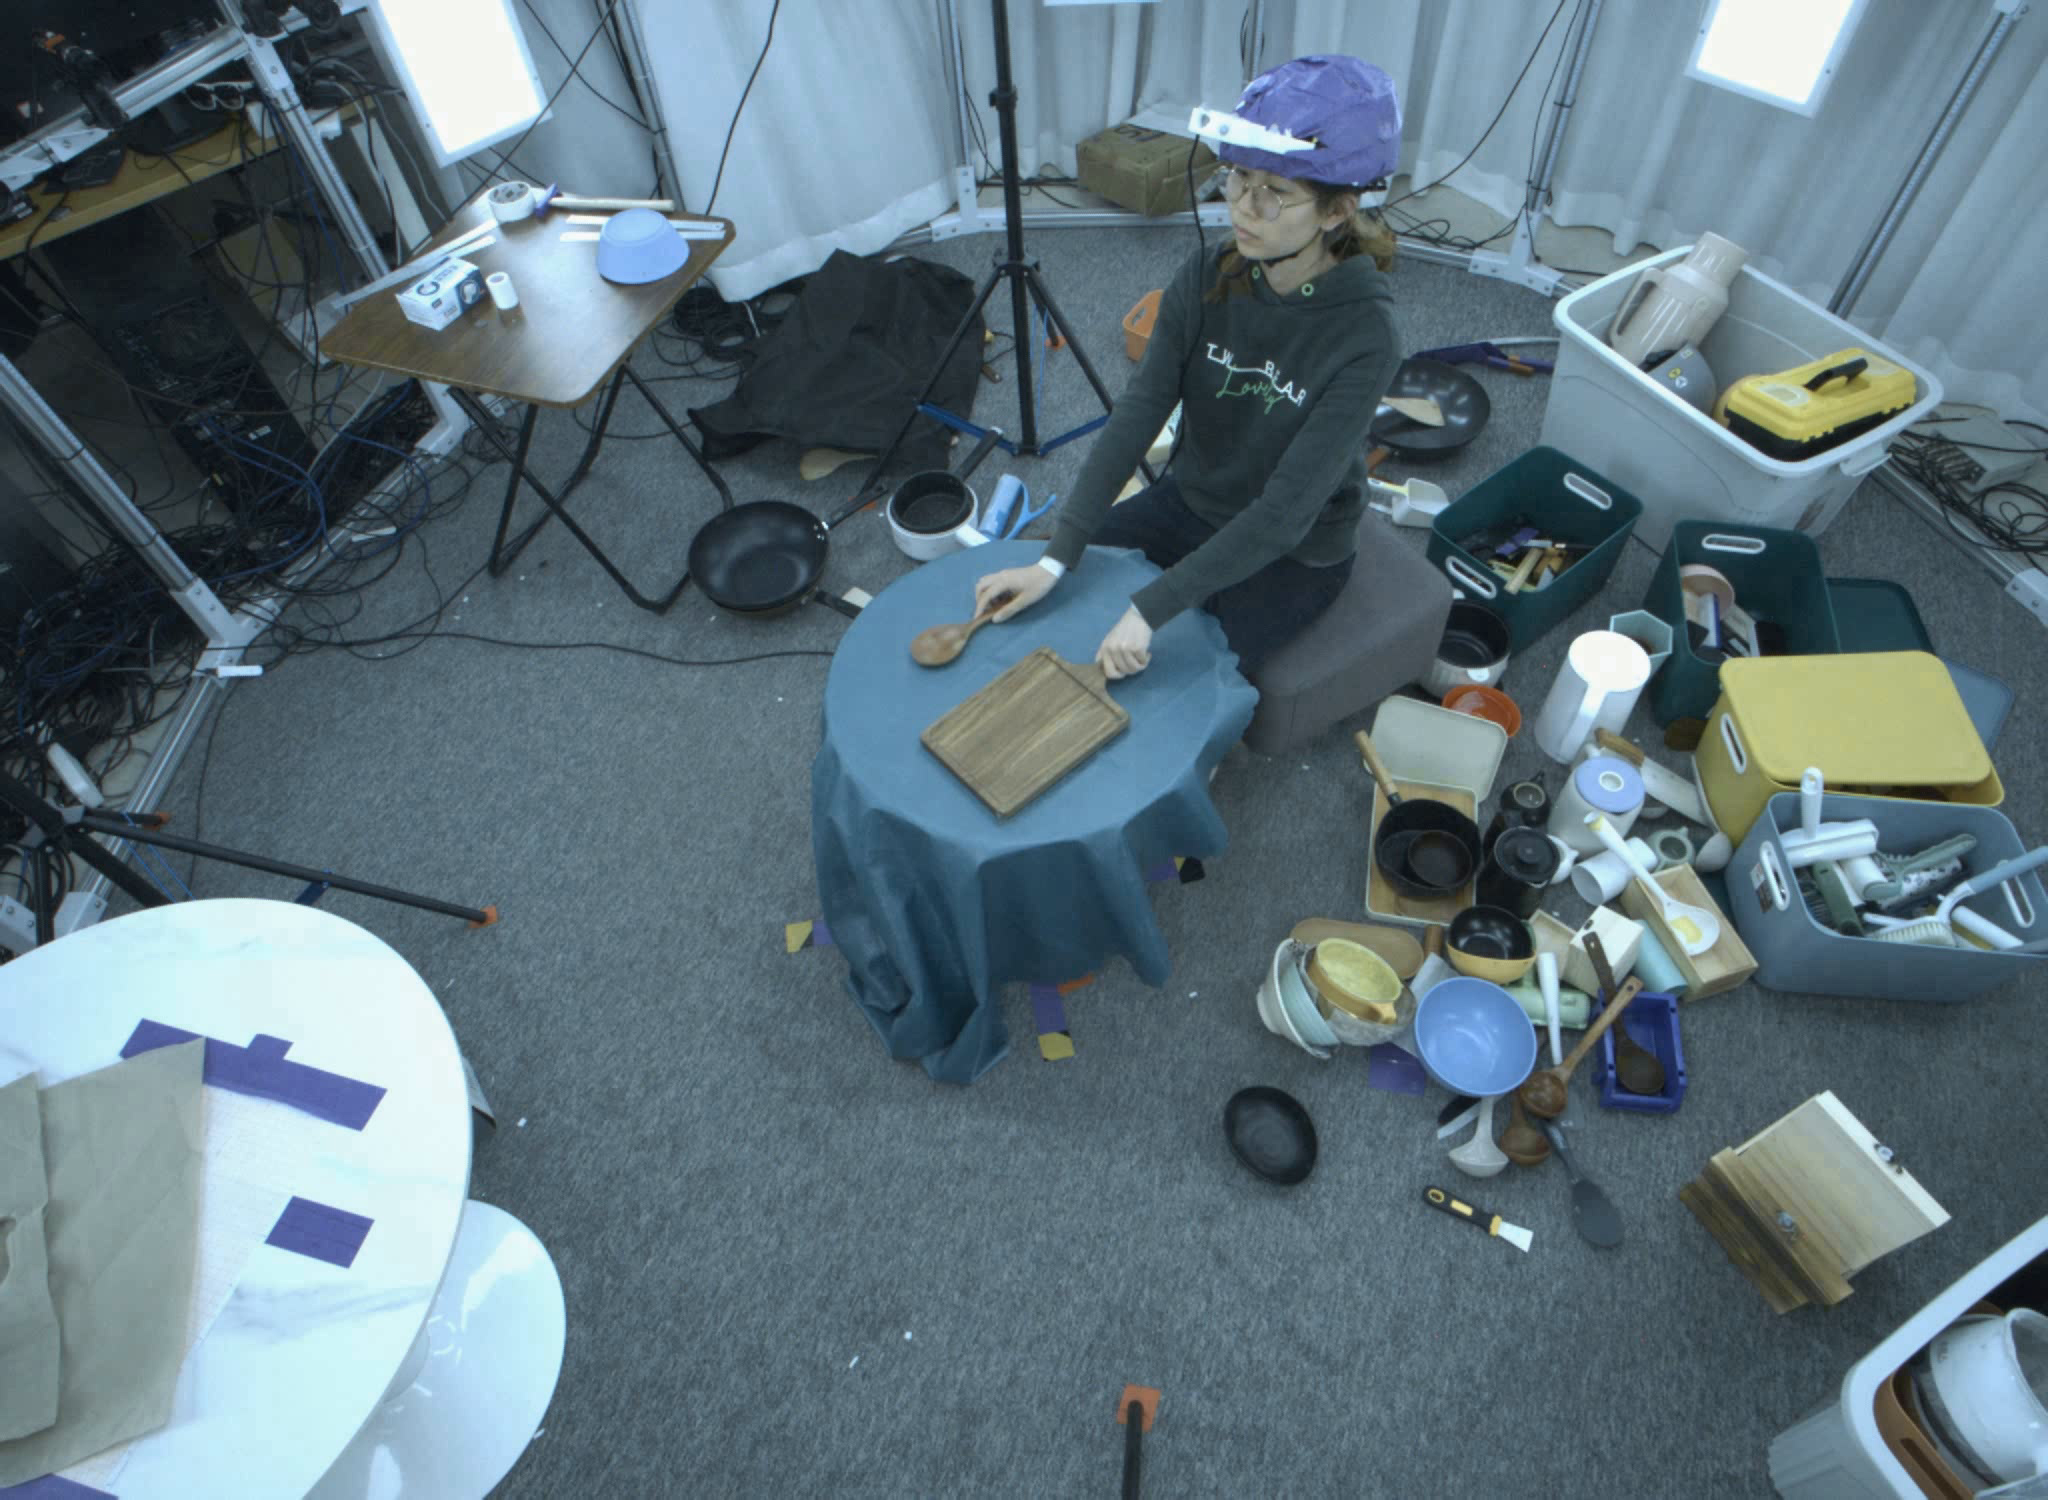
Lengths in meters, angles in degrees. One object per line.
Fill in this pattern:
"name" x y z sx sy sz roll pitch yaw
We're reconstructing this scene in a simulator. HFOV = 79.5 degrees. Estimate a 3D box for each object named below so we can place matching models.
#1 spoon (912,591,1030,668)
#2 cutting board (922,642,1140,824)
"spoon" -0.080 -0.190 1.922 0.217 0.017 0.074 -34 59 -19
"cutting board" 0.041 -0.054 1.818 0.354 0.023 0.197 -37 60 -20
